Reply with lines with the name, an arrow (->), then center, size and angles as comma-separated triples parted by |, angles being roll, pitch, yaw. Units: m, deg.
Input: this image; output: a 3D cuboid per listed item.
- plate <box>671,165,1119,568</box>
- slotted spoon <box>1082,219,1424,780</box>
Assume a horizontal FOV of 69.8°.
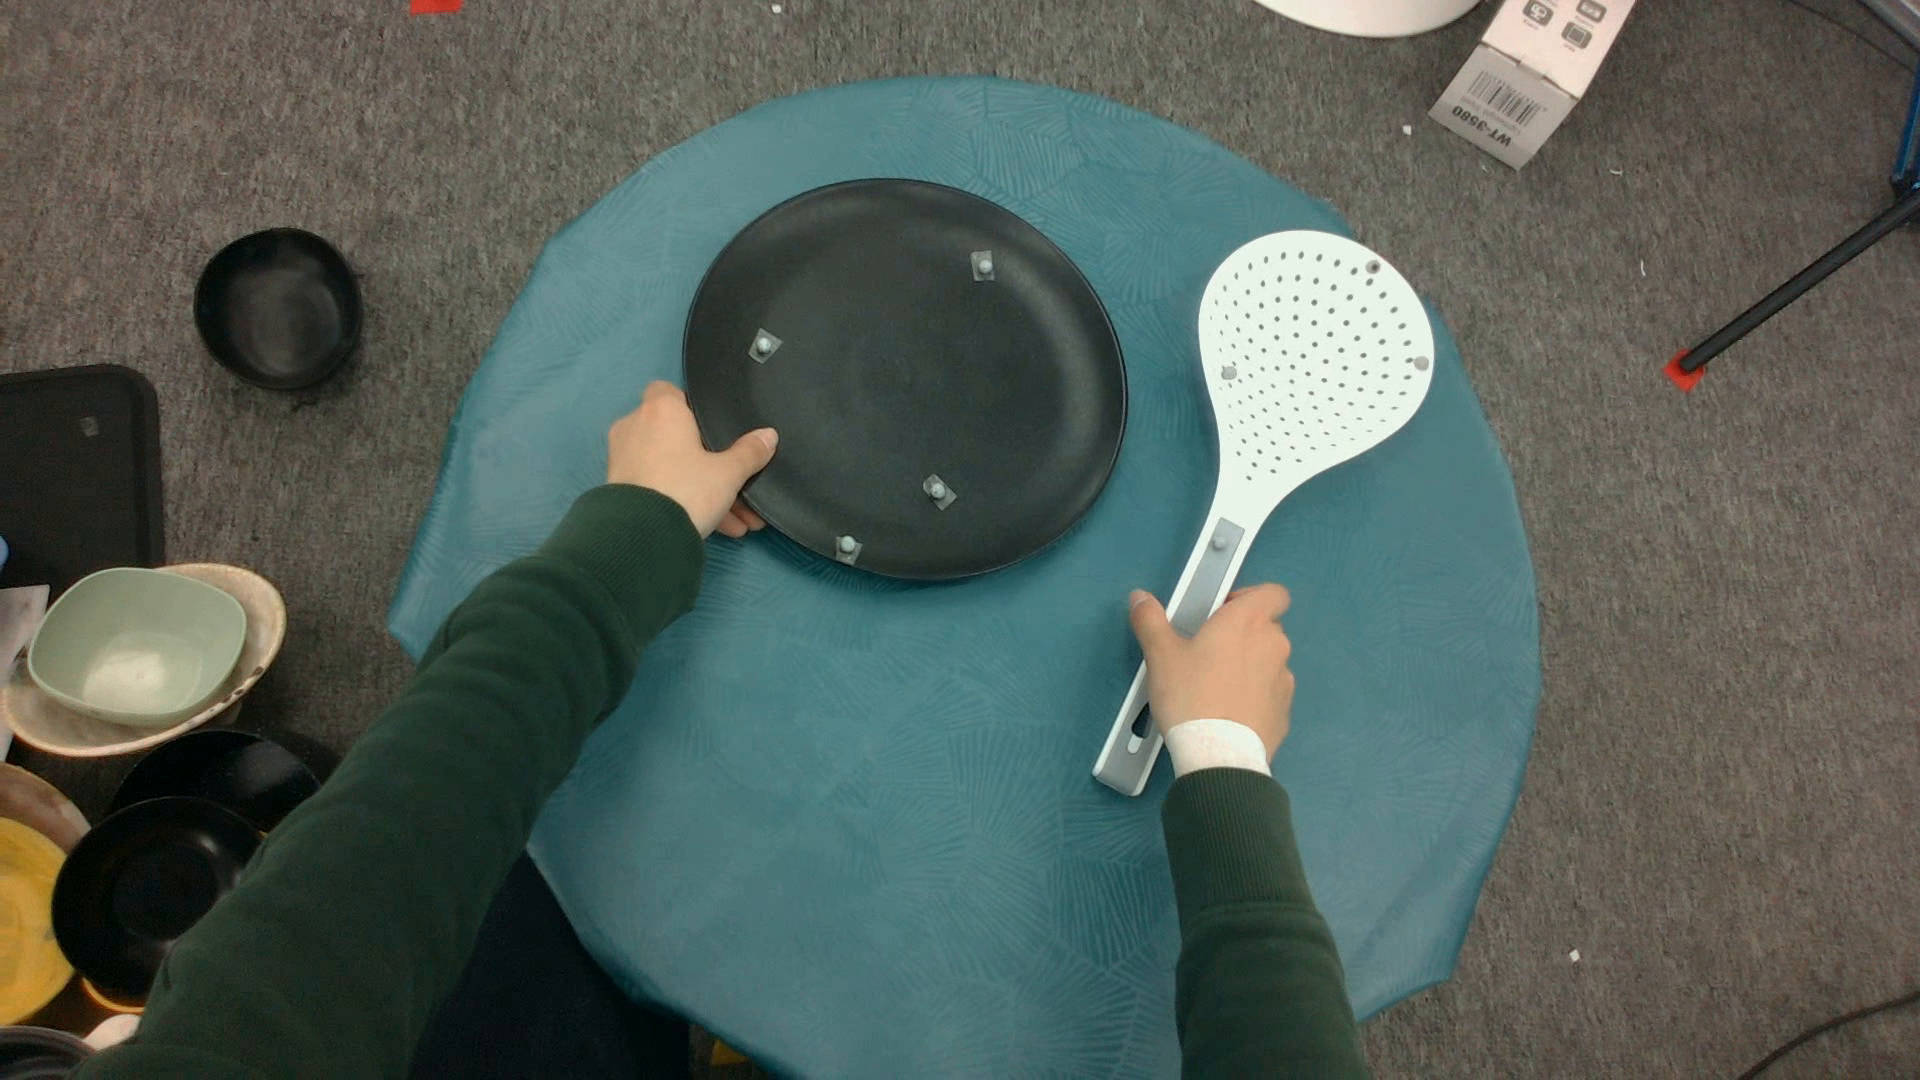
plate -> -0.032, -0.096, 0.747 | 0.244, 0.023, 0.245 | 5, 68, -11
slotted spoon -> 0.149, -0.029, 0.750 | 0.136, 0.045, 0.351 | 27, 66, 2
